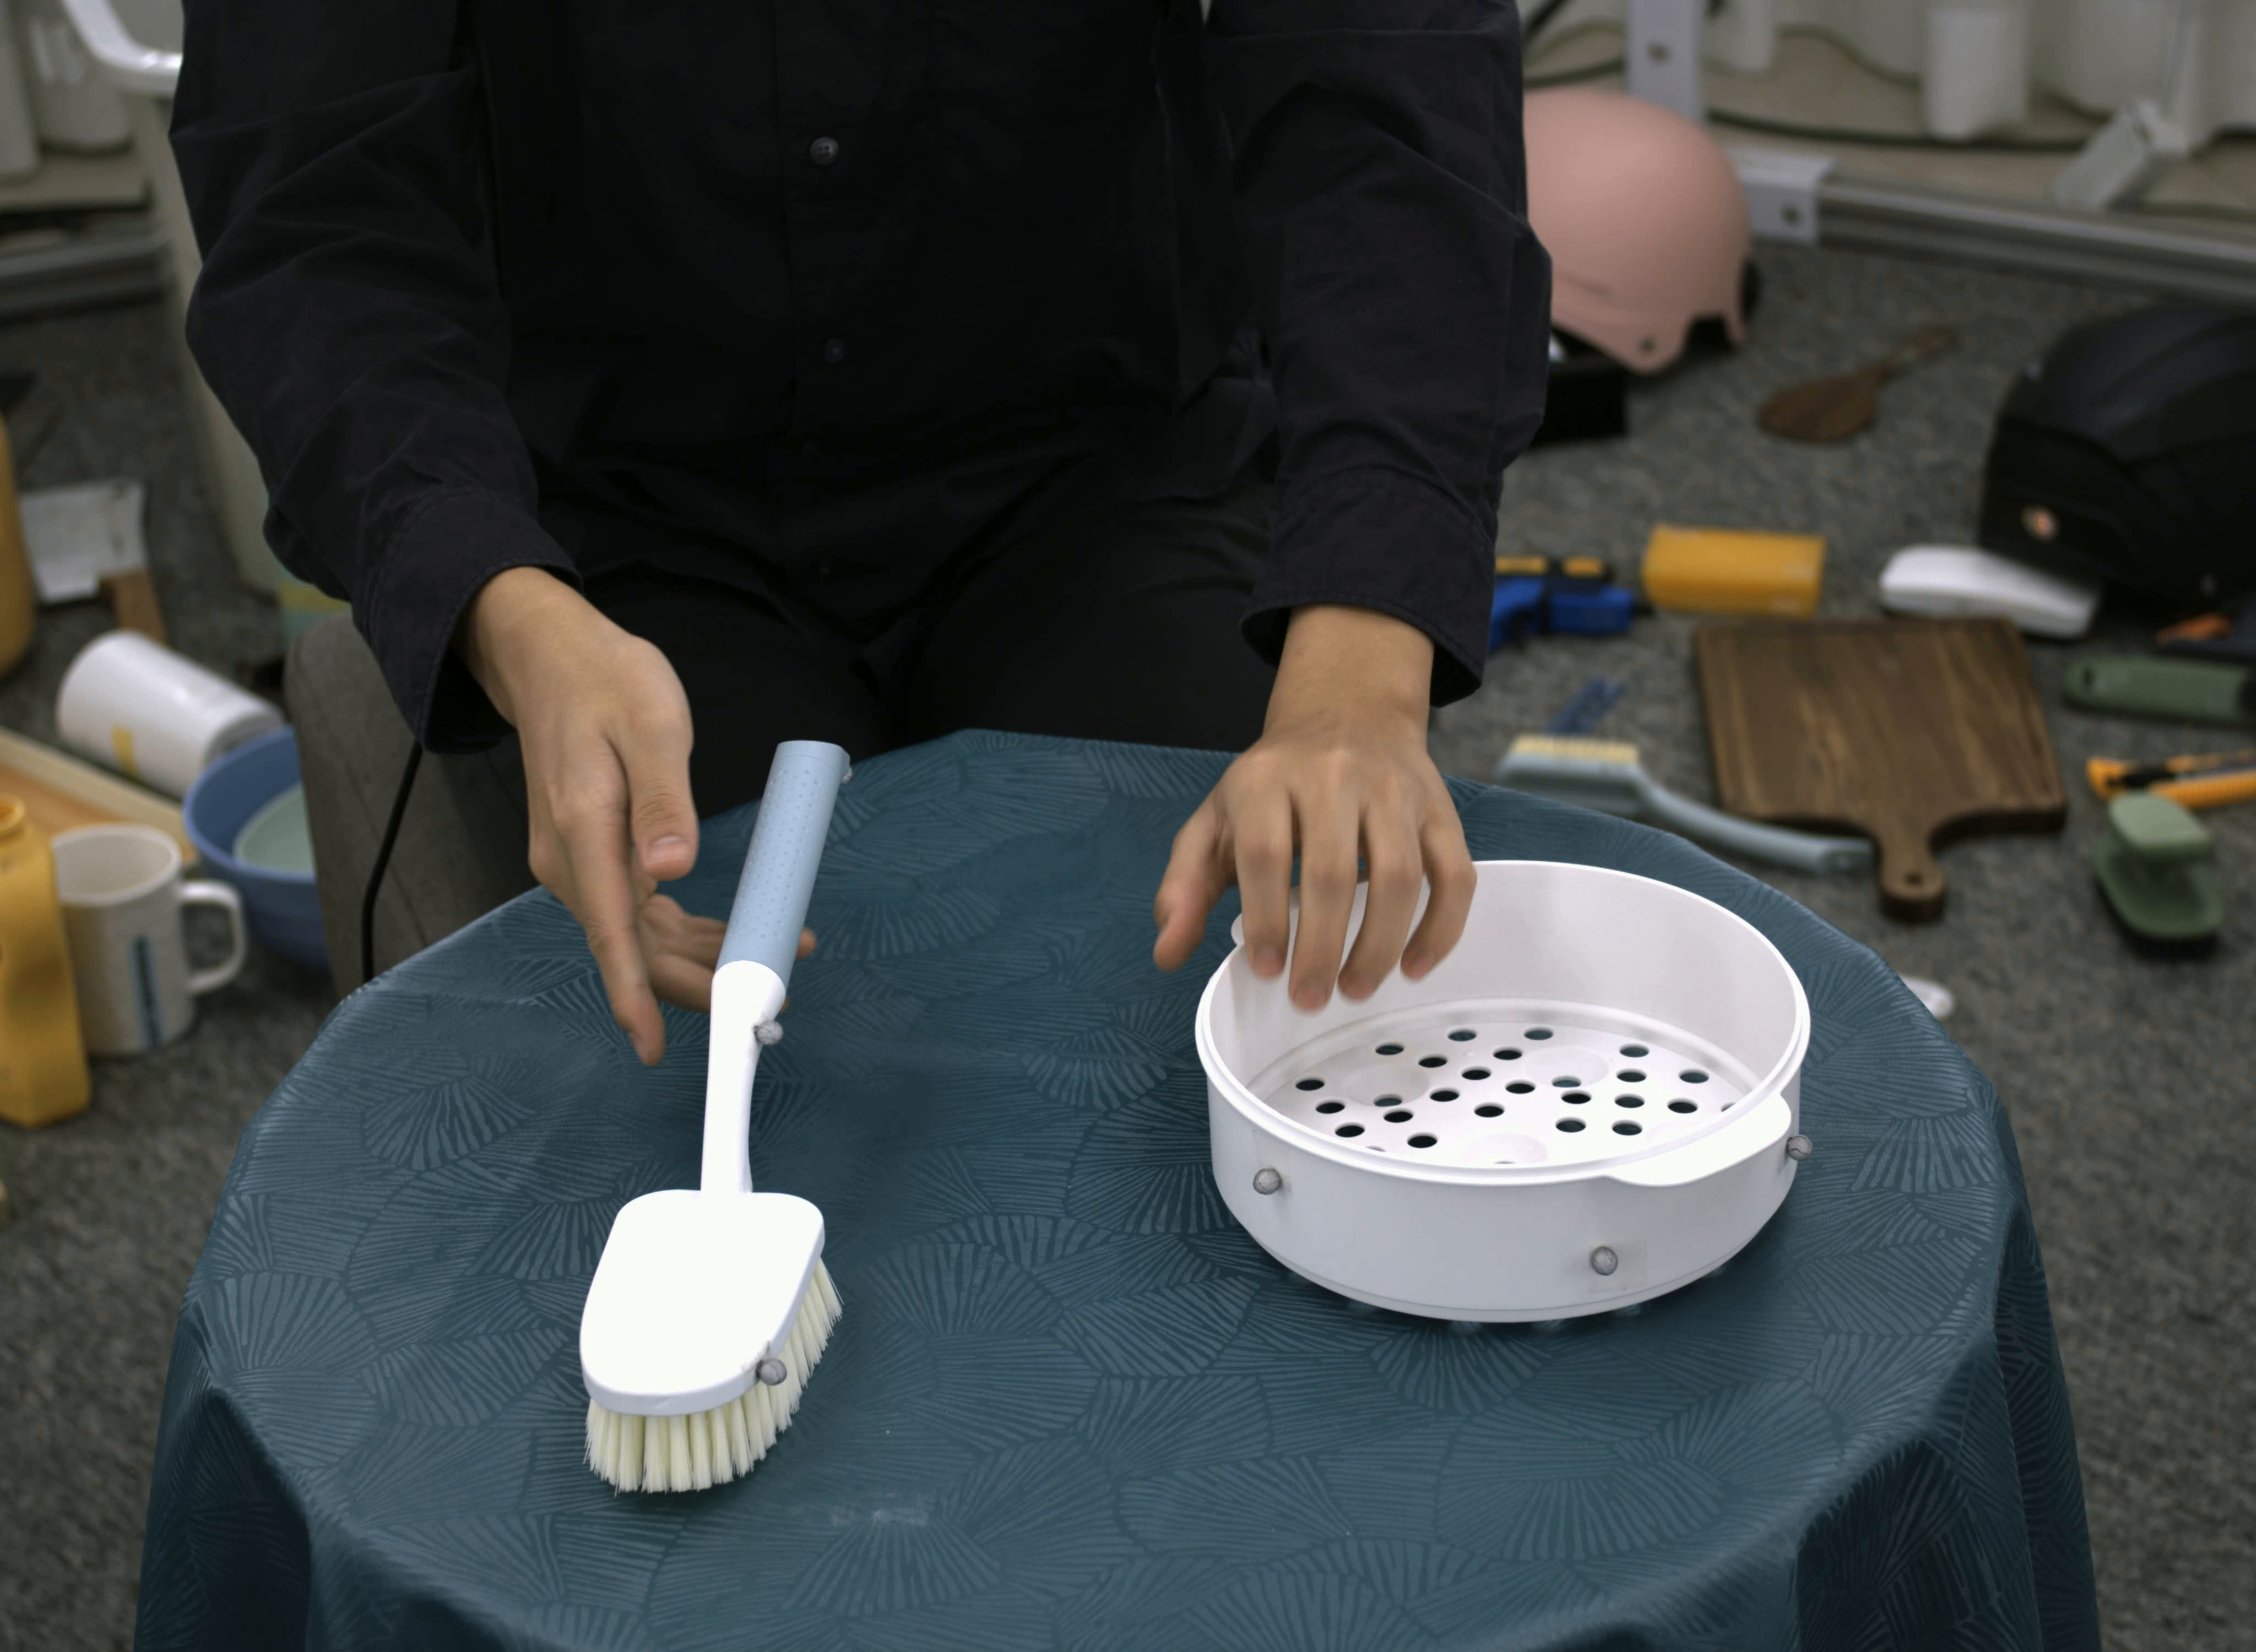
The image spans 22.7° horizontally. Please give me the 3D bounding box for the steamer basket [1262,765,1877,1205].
[{"bbox_3d":[0.145,0.053,1.854,0.203,0.068,0.231,-20,32,-31],"label":"steamer basket"}]

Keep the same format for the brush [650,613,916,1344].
[{"bbox_3d":[-0.098,0.058,1.848,0.083,0.083,0.332,30,38,-15],"label":"brush"}]
